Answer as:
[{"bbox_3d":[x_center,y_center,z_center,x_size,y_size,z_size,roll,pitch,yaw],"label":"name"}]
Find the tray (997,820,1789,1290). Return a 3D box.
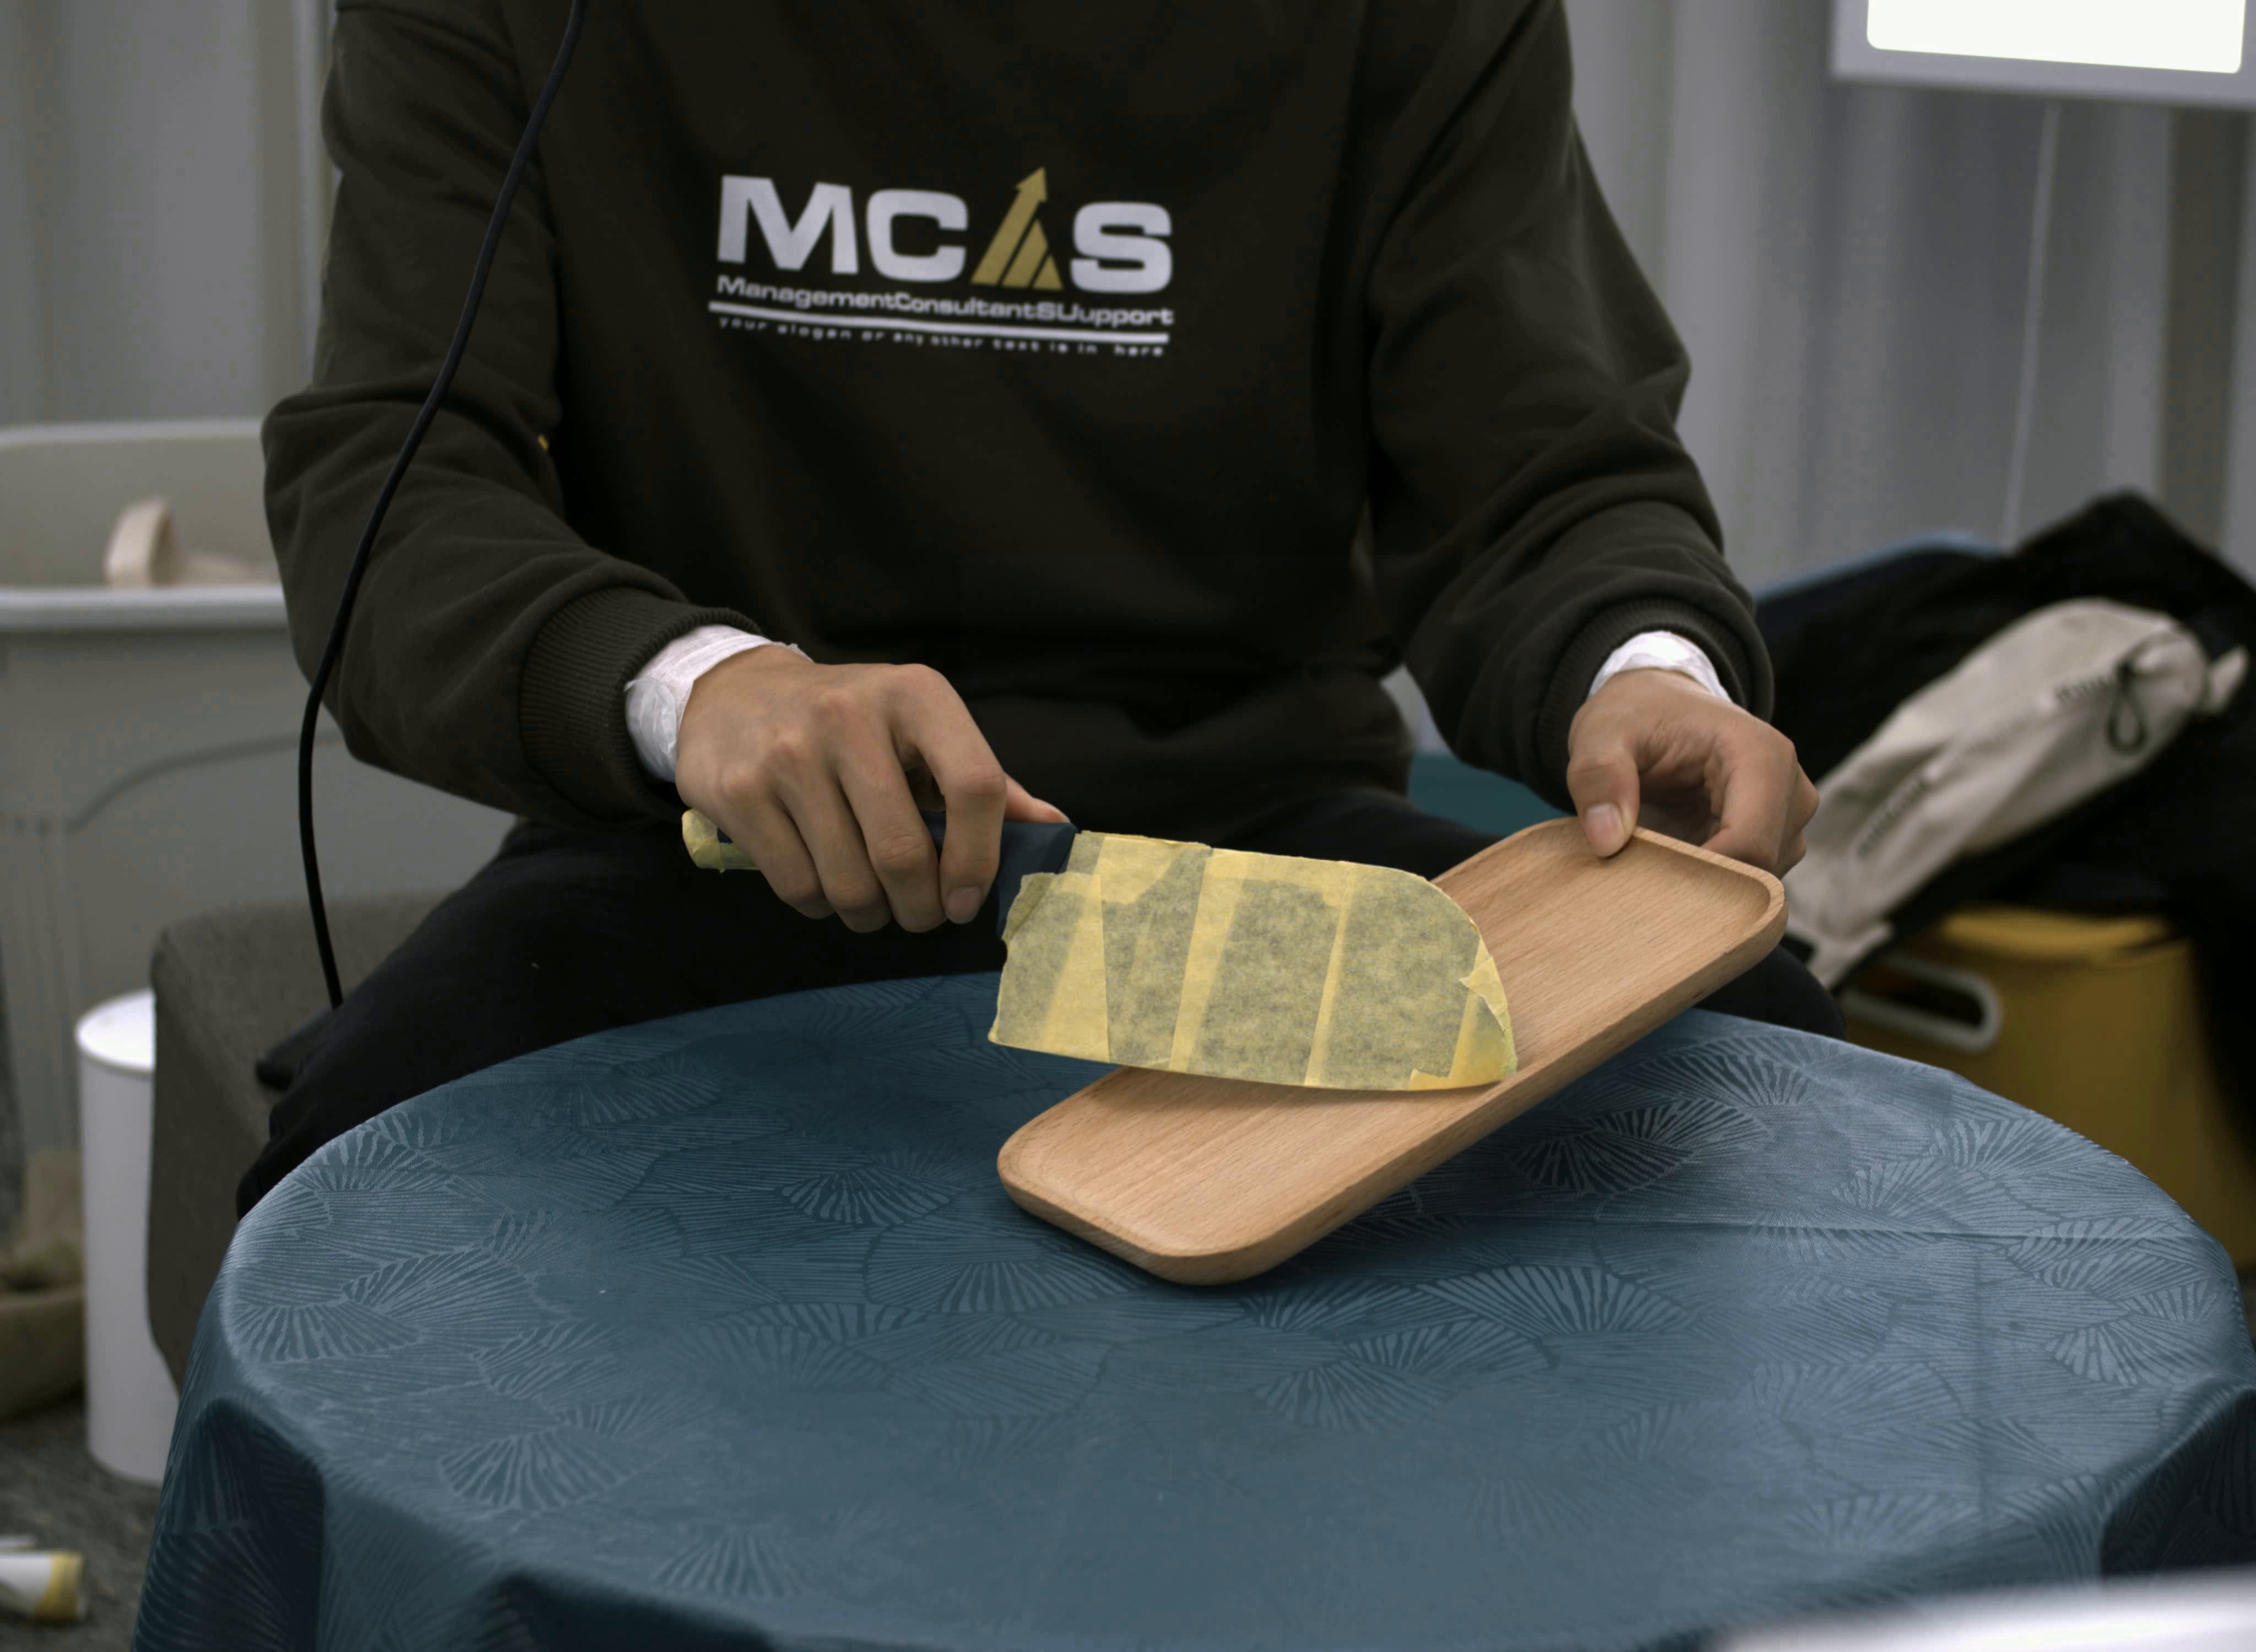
[{"bbox_3d":[0.084,0.068,1.623,0.251,0.023,0.129,-30,26,-26],"label":"tray"}]

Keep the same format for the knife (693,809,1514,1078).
[{"bbox_3d":[-0.012,0.035,1.643,0.286,0.081,0.027,9,-16,24],"label":"knife"}]
